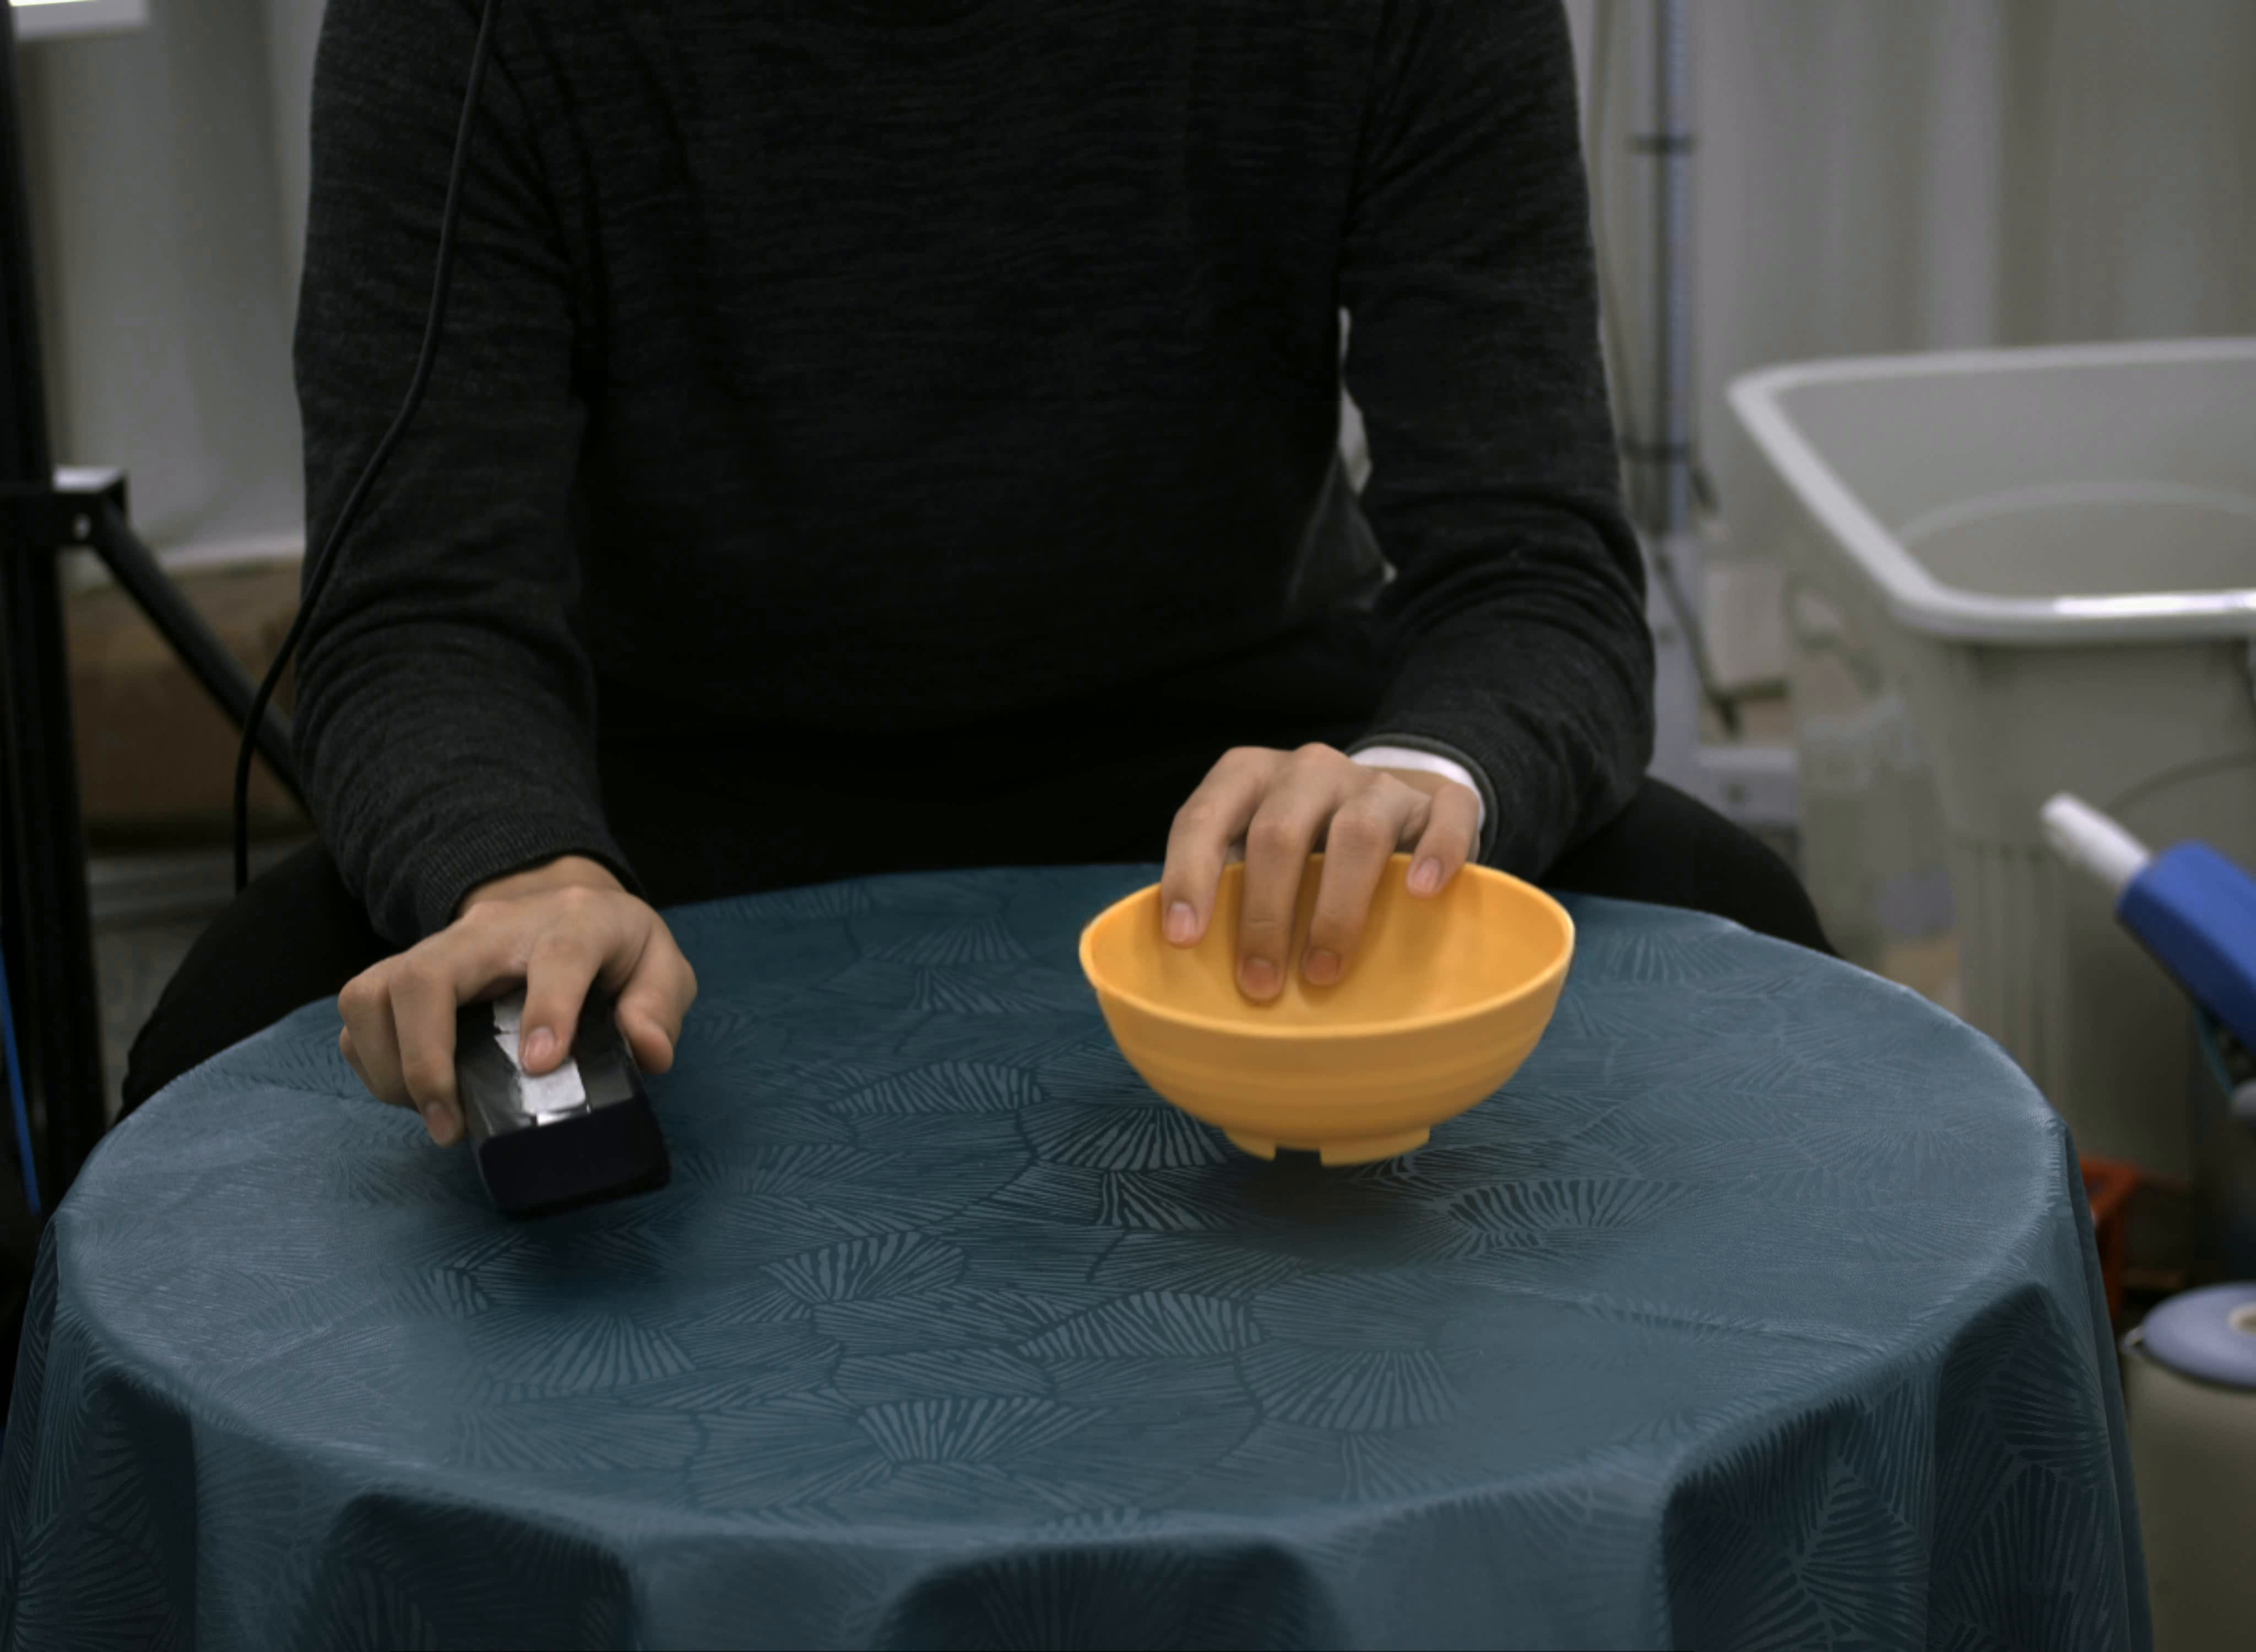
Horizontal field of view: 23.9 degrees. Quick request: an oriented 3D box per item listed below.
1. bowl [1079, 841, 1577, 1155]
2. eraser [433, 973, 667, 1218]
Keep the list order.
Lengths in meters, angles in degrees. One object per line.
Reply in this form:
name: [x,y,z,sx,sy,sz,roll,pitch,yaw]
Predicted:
bowl: [0.058,0.057,1.552,0.144,0.060,0.146,-1,20,-1]
eraser: [-0.168,0.077,1.548,0.053,0.030,0.127,-13,18,-9]
